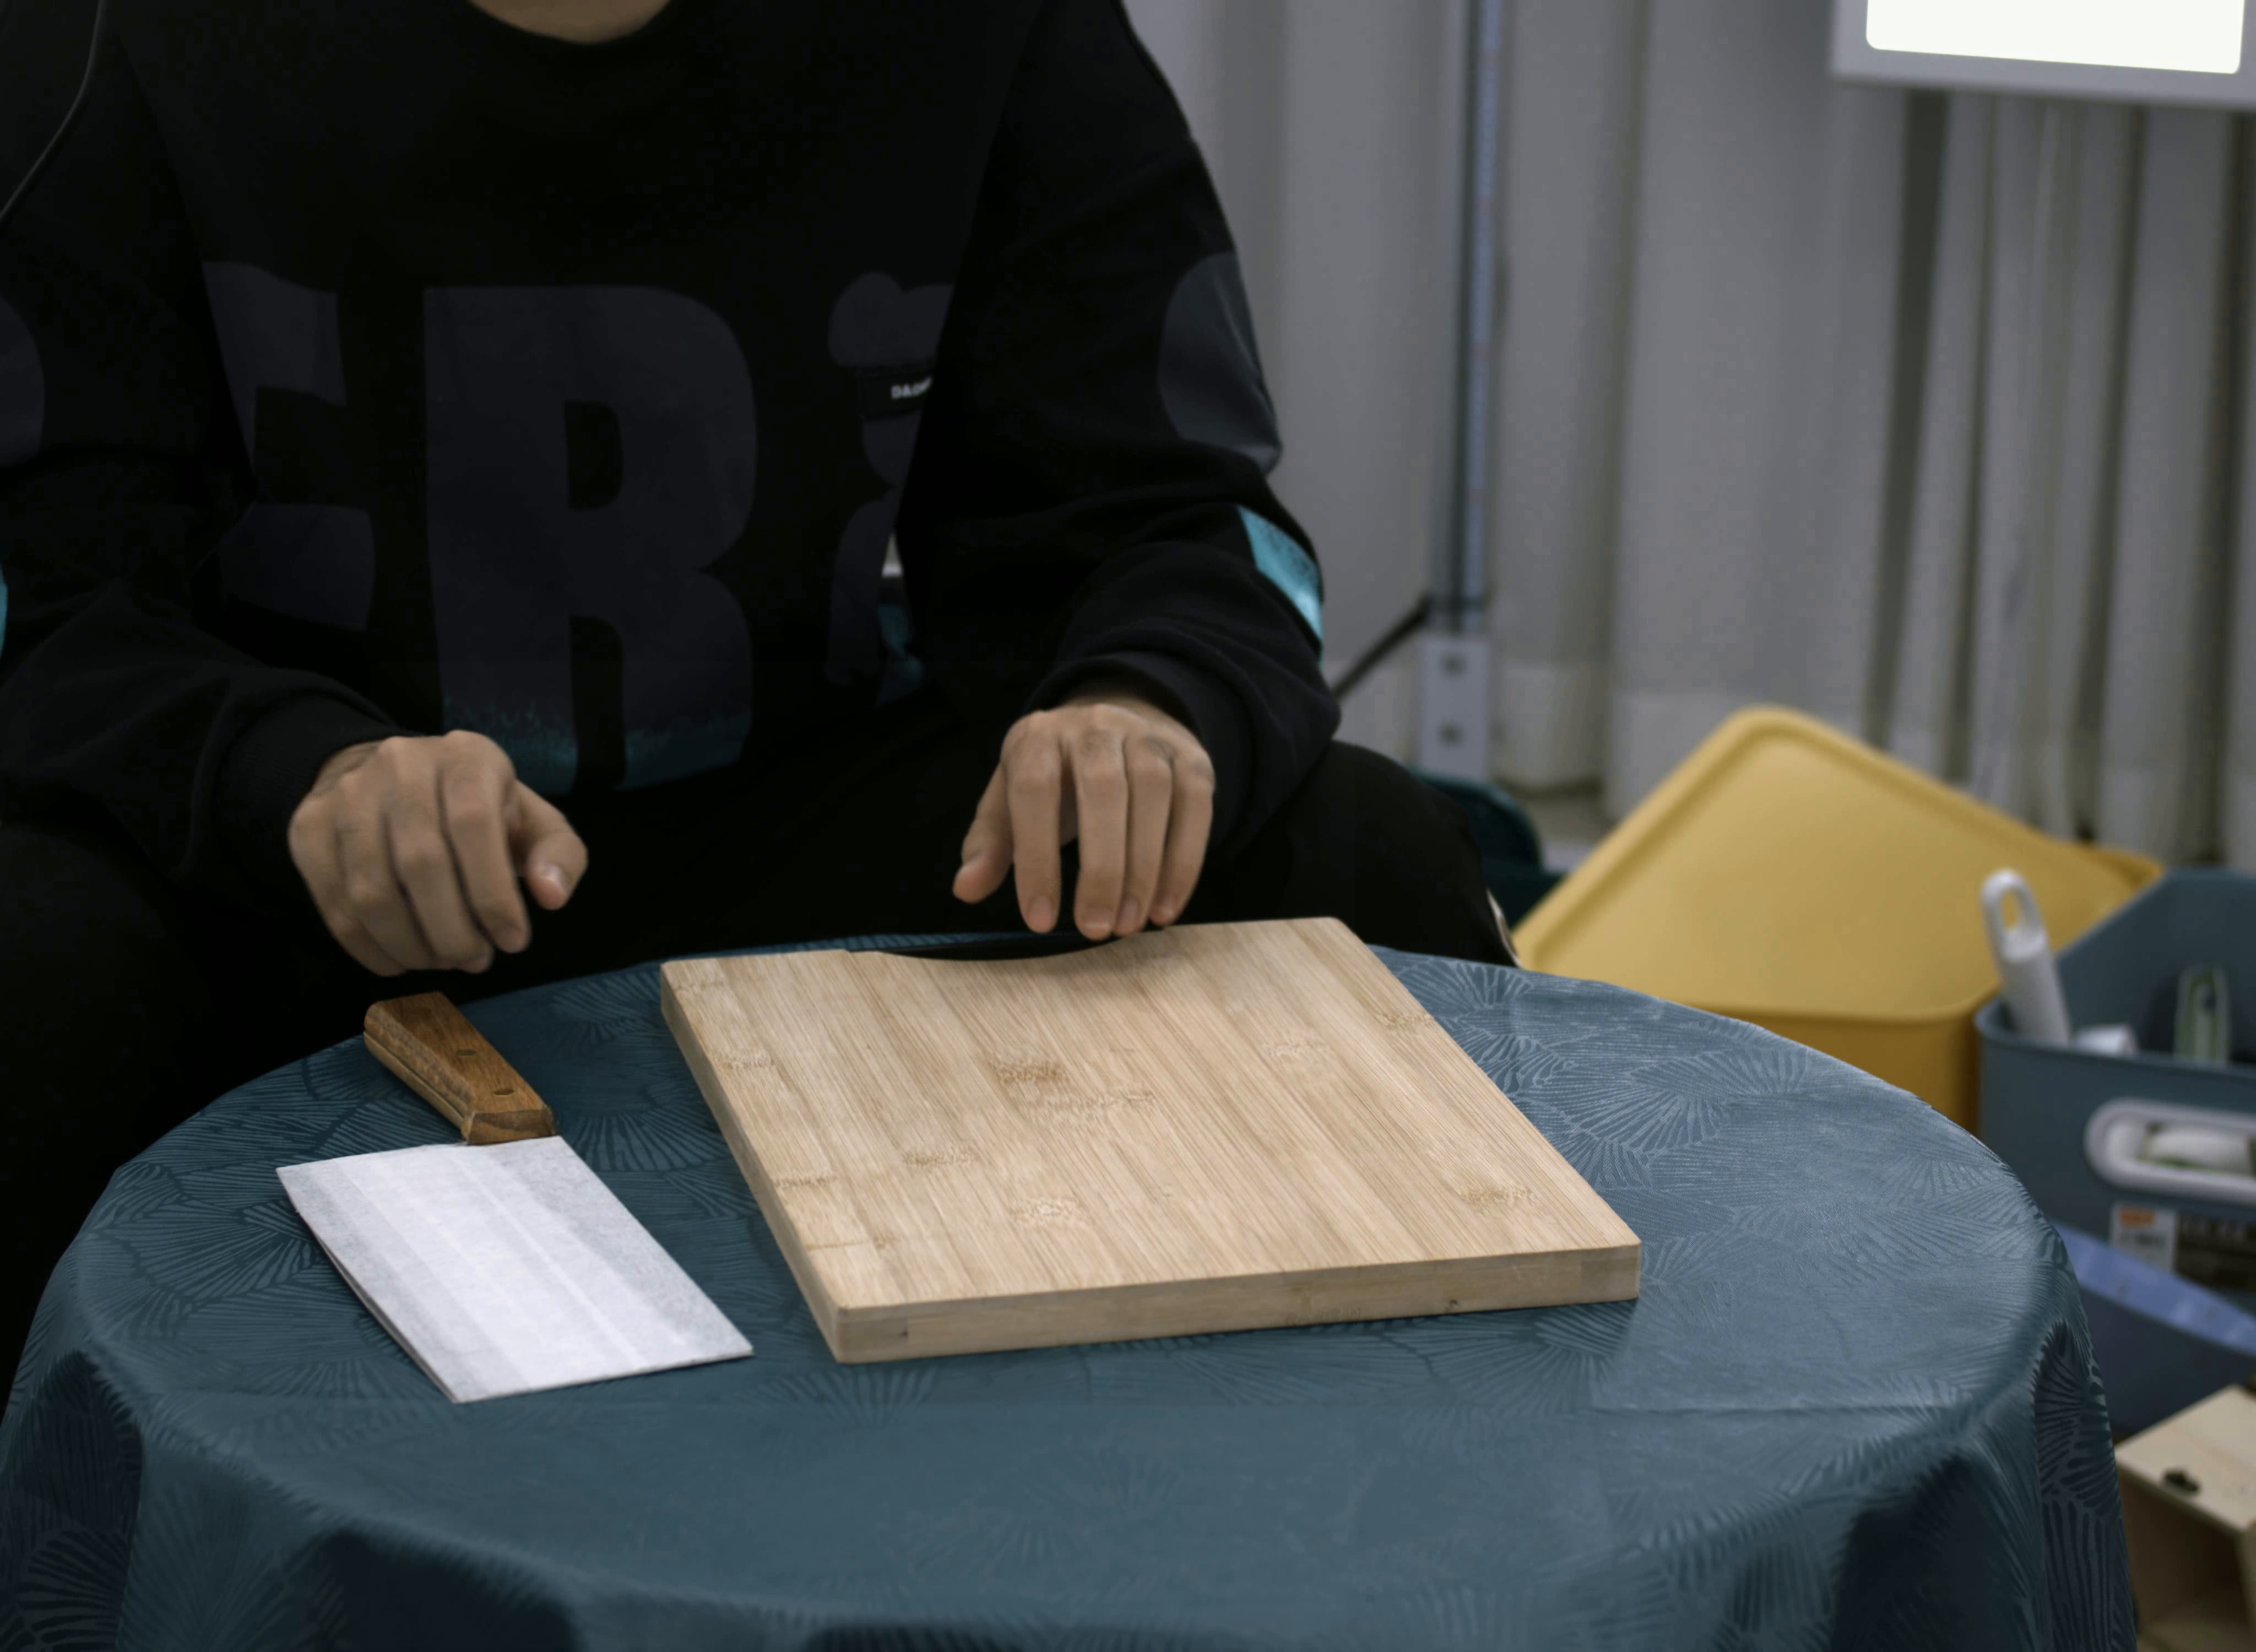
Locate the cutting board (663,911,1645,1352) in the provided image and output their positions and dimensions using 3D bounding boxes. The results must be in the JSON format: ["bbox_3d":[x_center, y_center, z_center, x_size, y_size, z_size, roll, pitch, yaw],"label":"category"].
[{"bbox_3d":[-0.004,0.091,1.667,0.251,0.024,0.345,-3,16,-14],"label":"cutting board"}]

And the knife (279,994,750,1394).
[{"bbox_3d":[-0.204,0.110,1.596,0.093,0.021,0.302,-8,20,-22],"label":"knife"}]
